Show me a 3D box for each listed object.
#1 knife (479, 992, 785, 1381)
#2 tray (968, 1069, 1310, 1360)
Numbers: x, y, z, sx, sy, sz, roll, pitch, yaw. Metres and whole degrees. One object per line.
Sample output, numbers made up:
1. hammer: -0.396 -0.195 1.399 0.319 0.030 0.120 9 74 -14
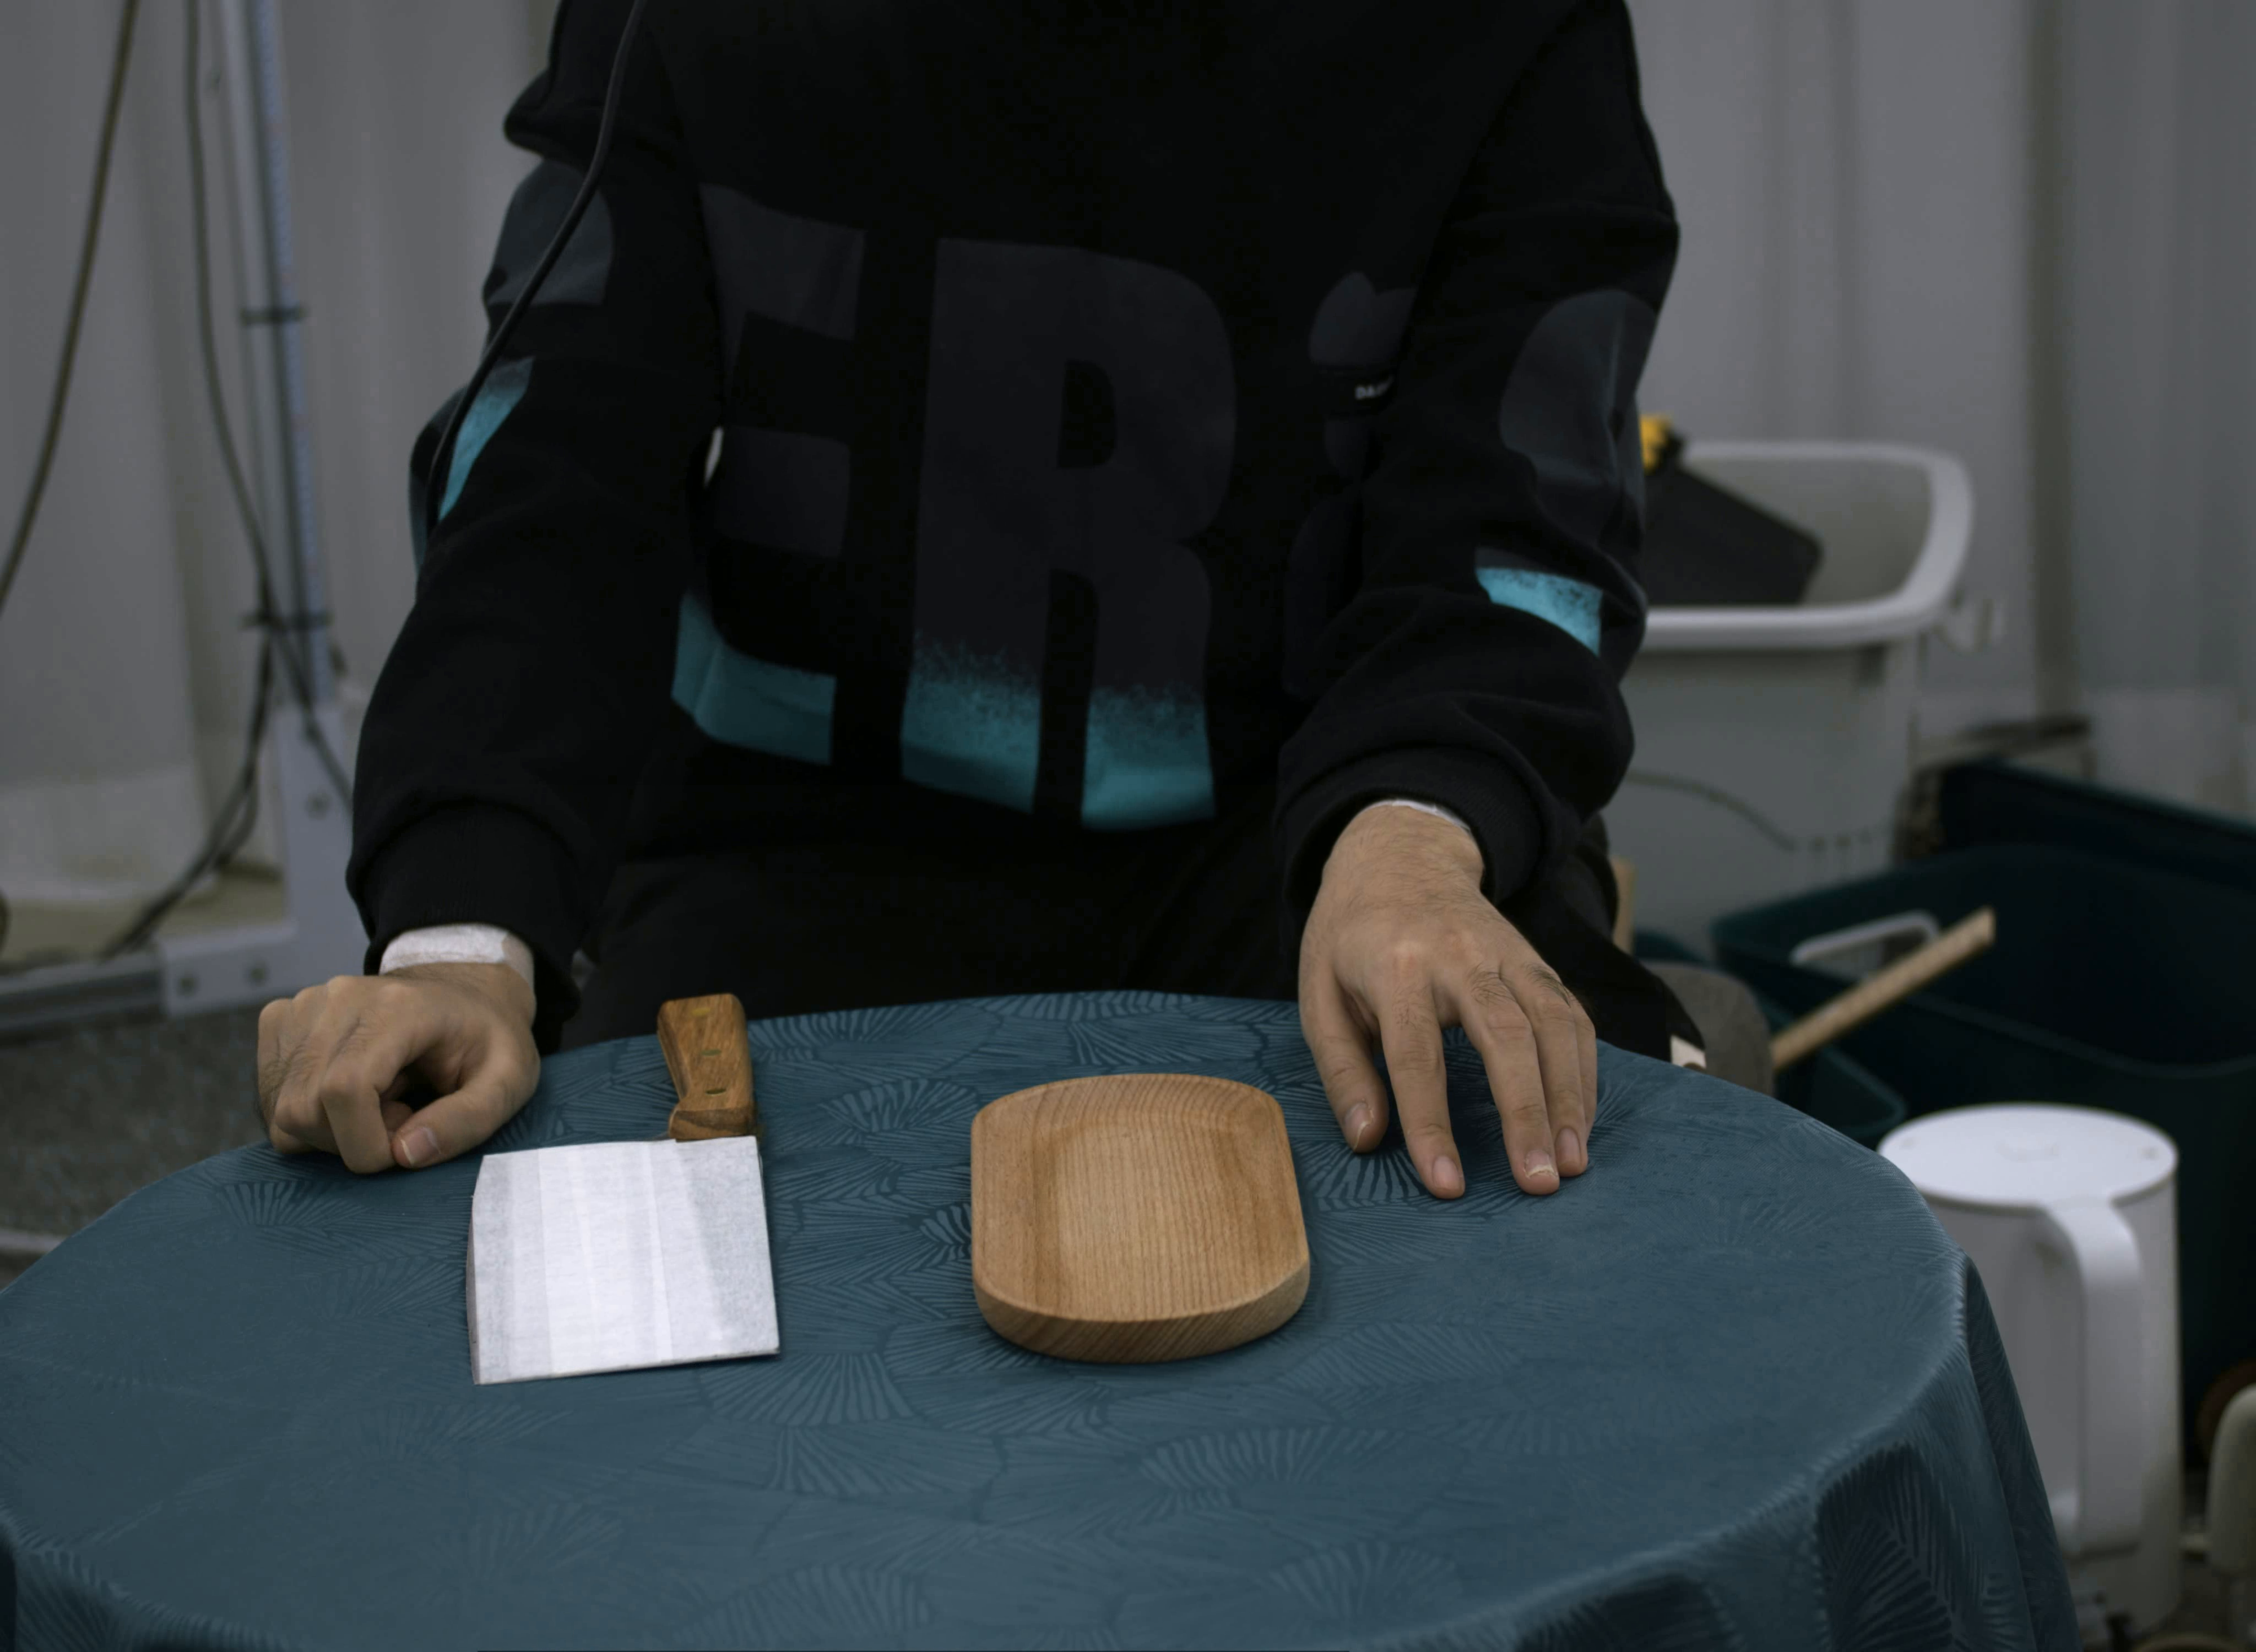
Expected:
1. knife: -0.158 0.113 1.726 0.092 0.021 0.308 -6 17 -4
2. tray: 0.002 0.117 1.676 0.101 0.020 0.232 -2 14 -1
